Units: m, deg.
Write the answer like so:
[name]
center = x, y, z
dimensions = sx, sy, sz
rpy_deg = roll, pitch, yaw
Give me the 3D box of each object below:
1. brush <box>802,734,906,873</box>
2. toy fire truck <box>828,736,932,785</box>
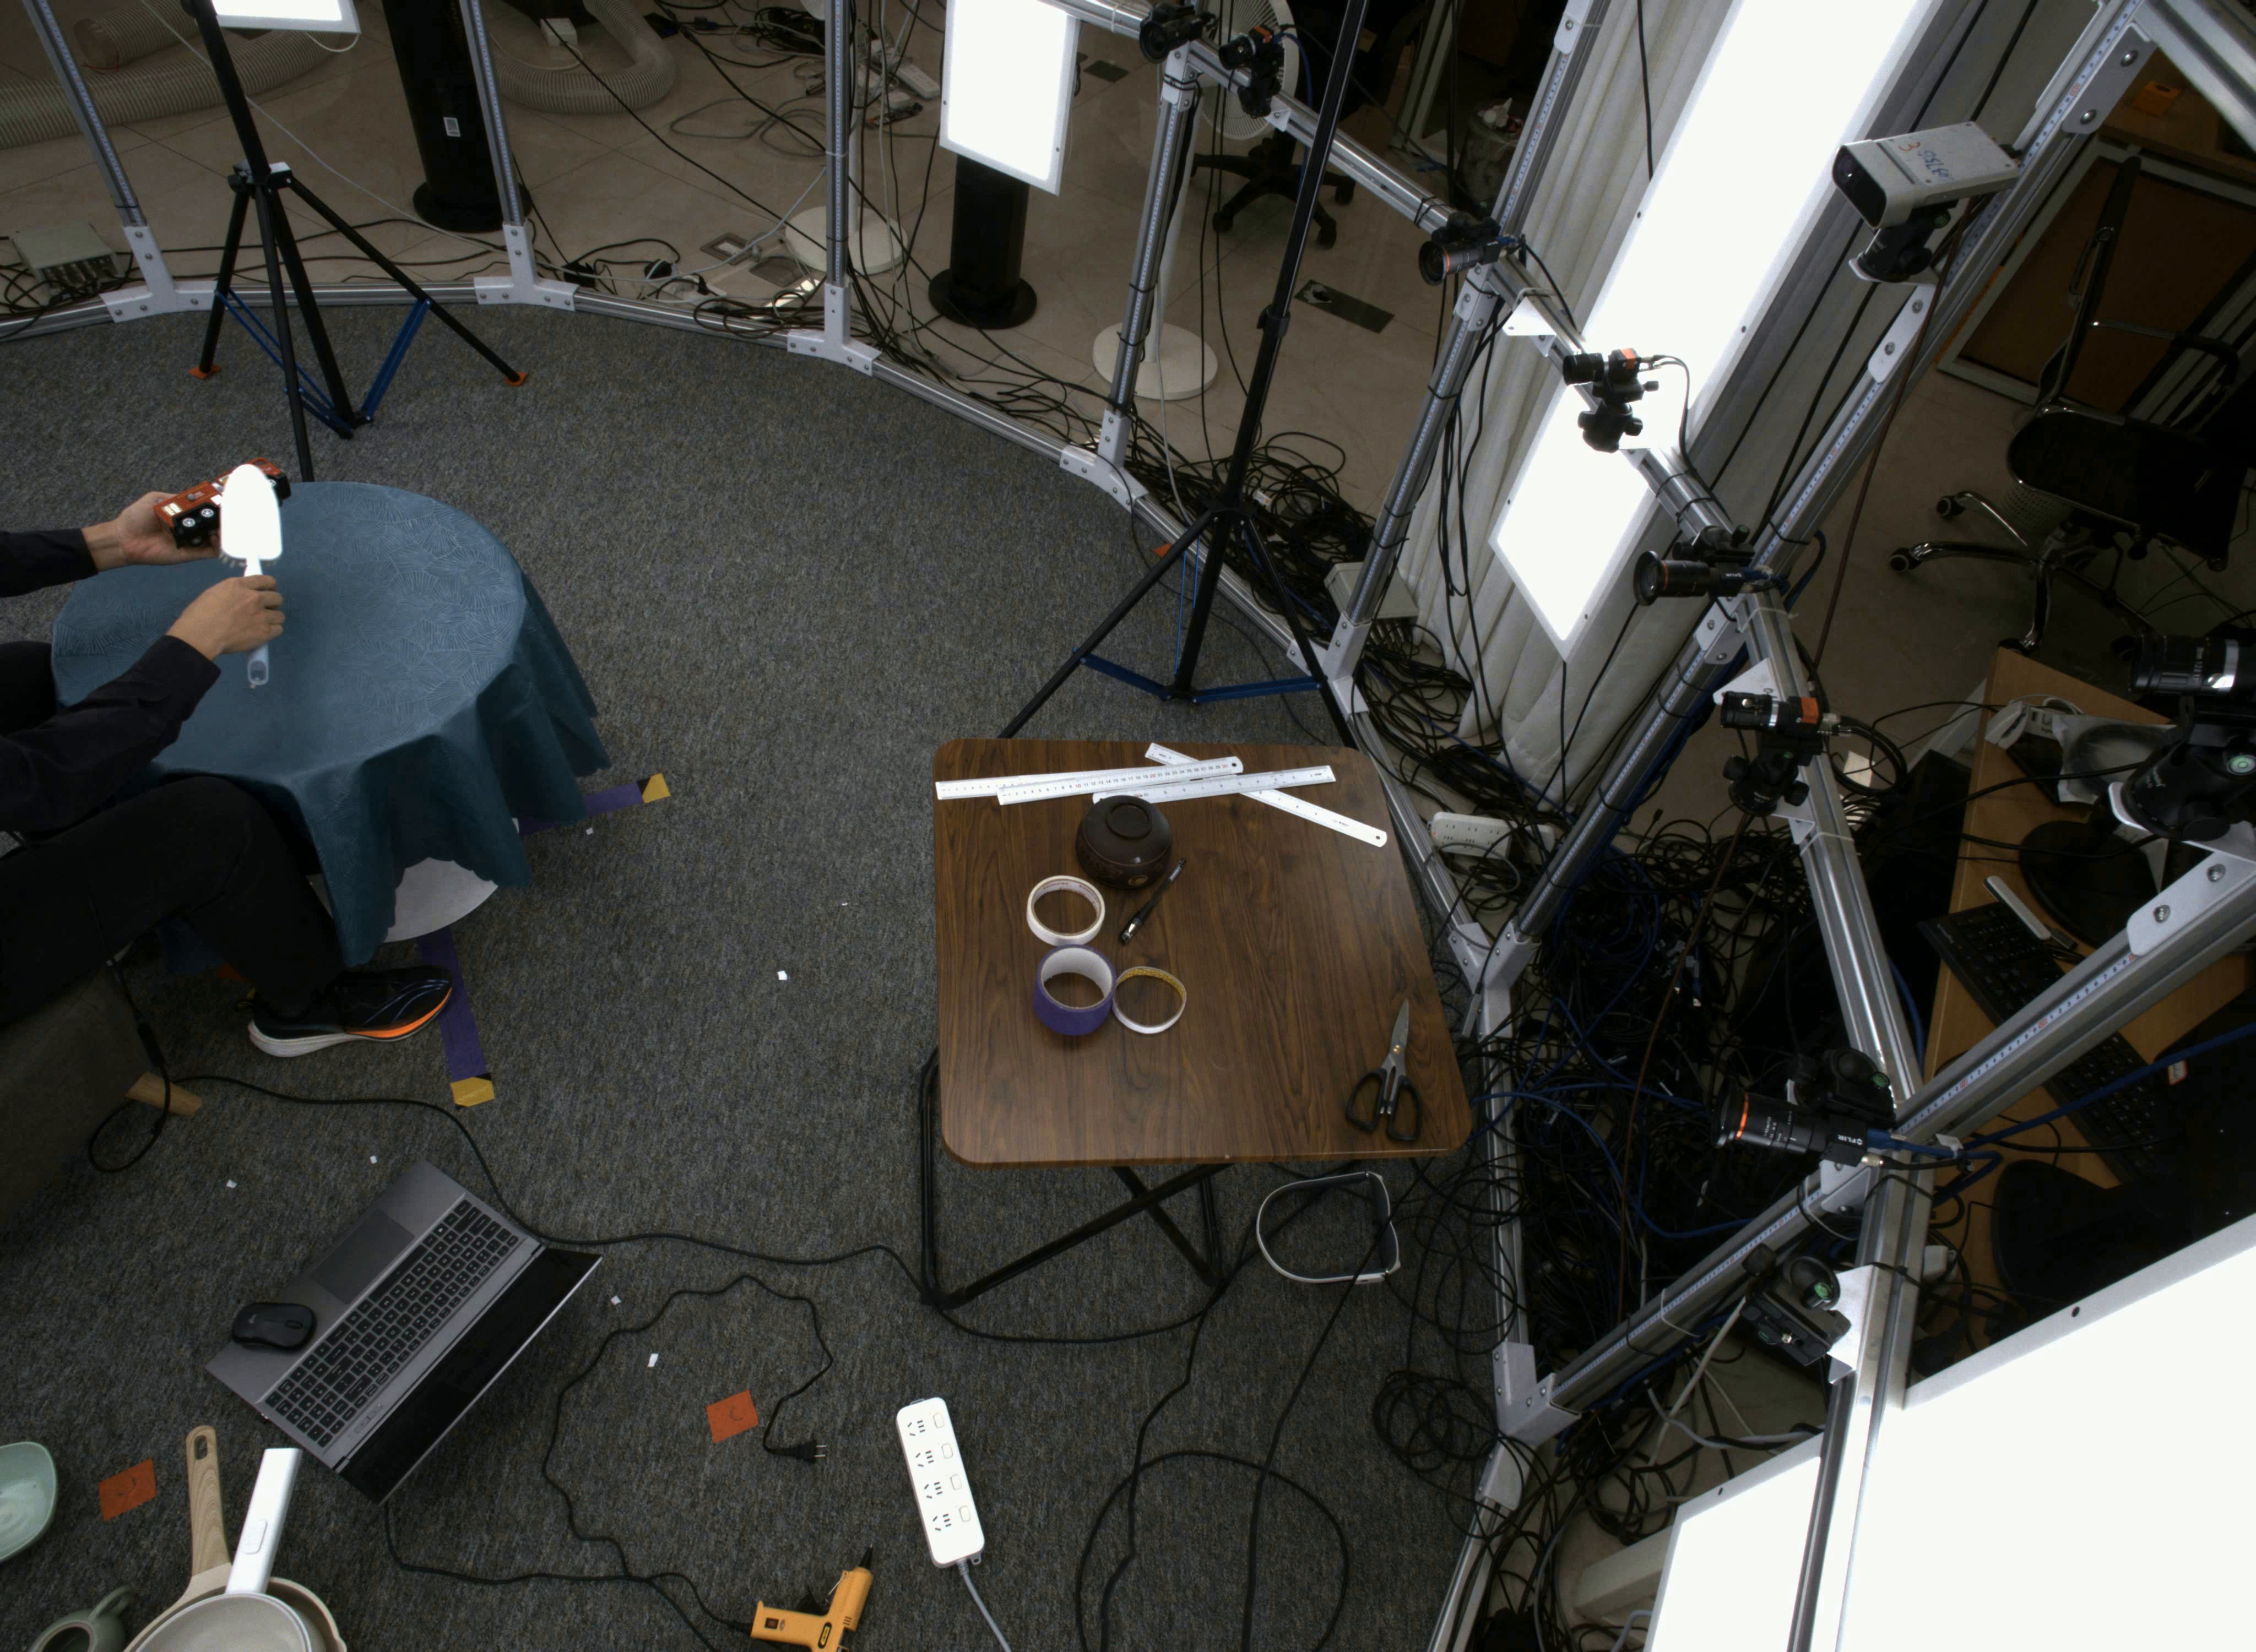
[brush]
center = -0.412, -0.021, 1.923
dimensions = 0.081, 0.088, 0.322
rpy_deg = -5, 36, 23
[toy fire truck]
center = -0.394, -0.105, 2.058
dimensions = 0.169, 0.055, 0.068
rpy_deg = -4, 40, -26
